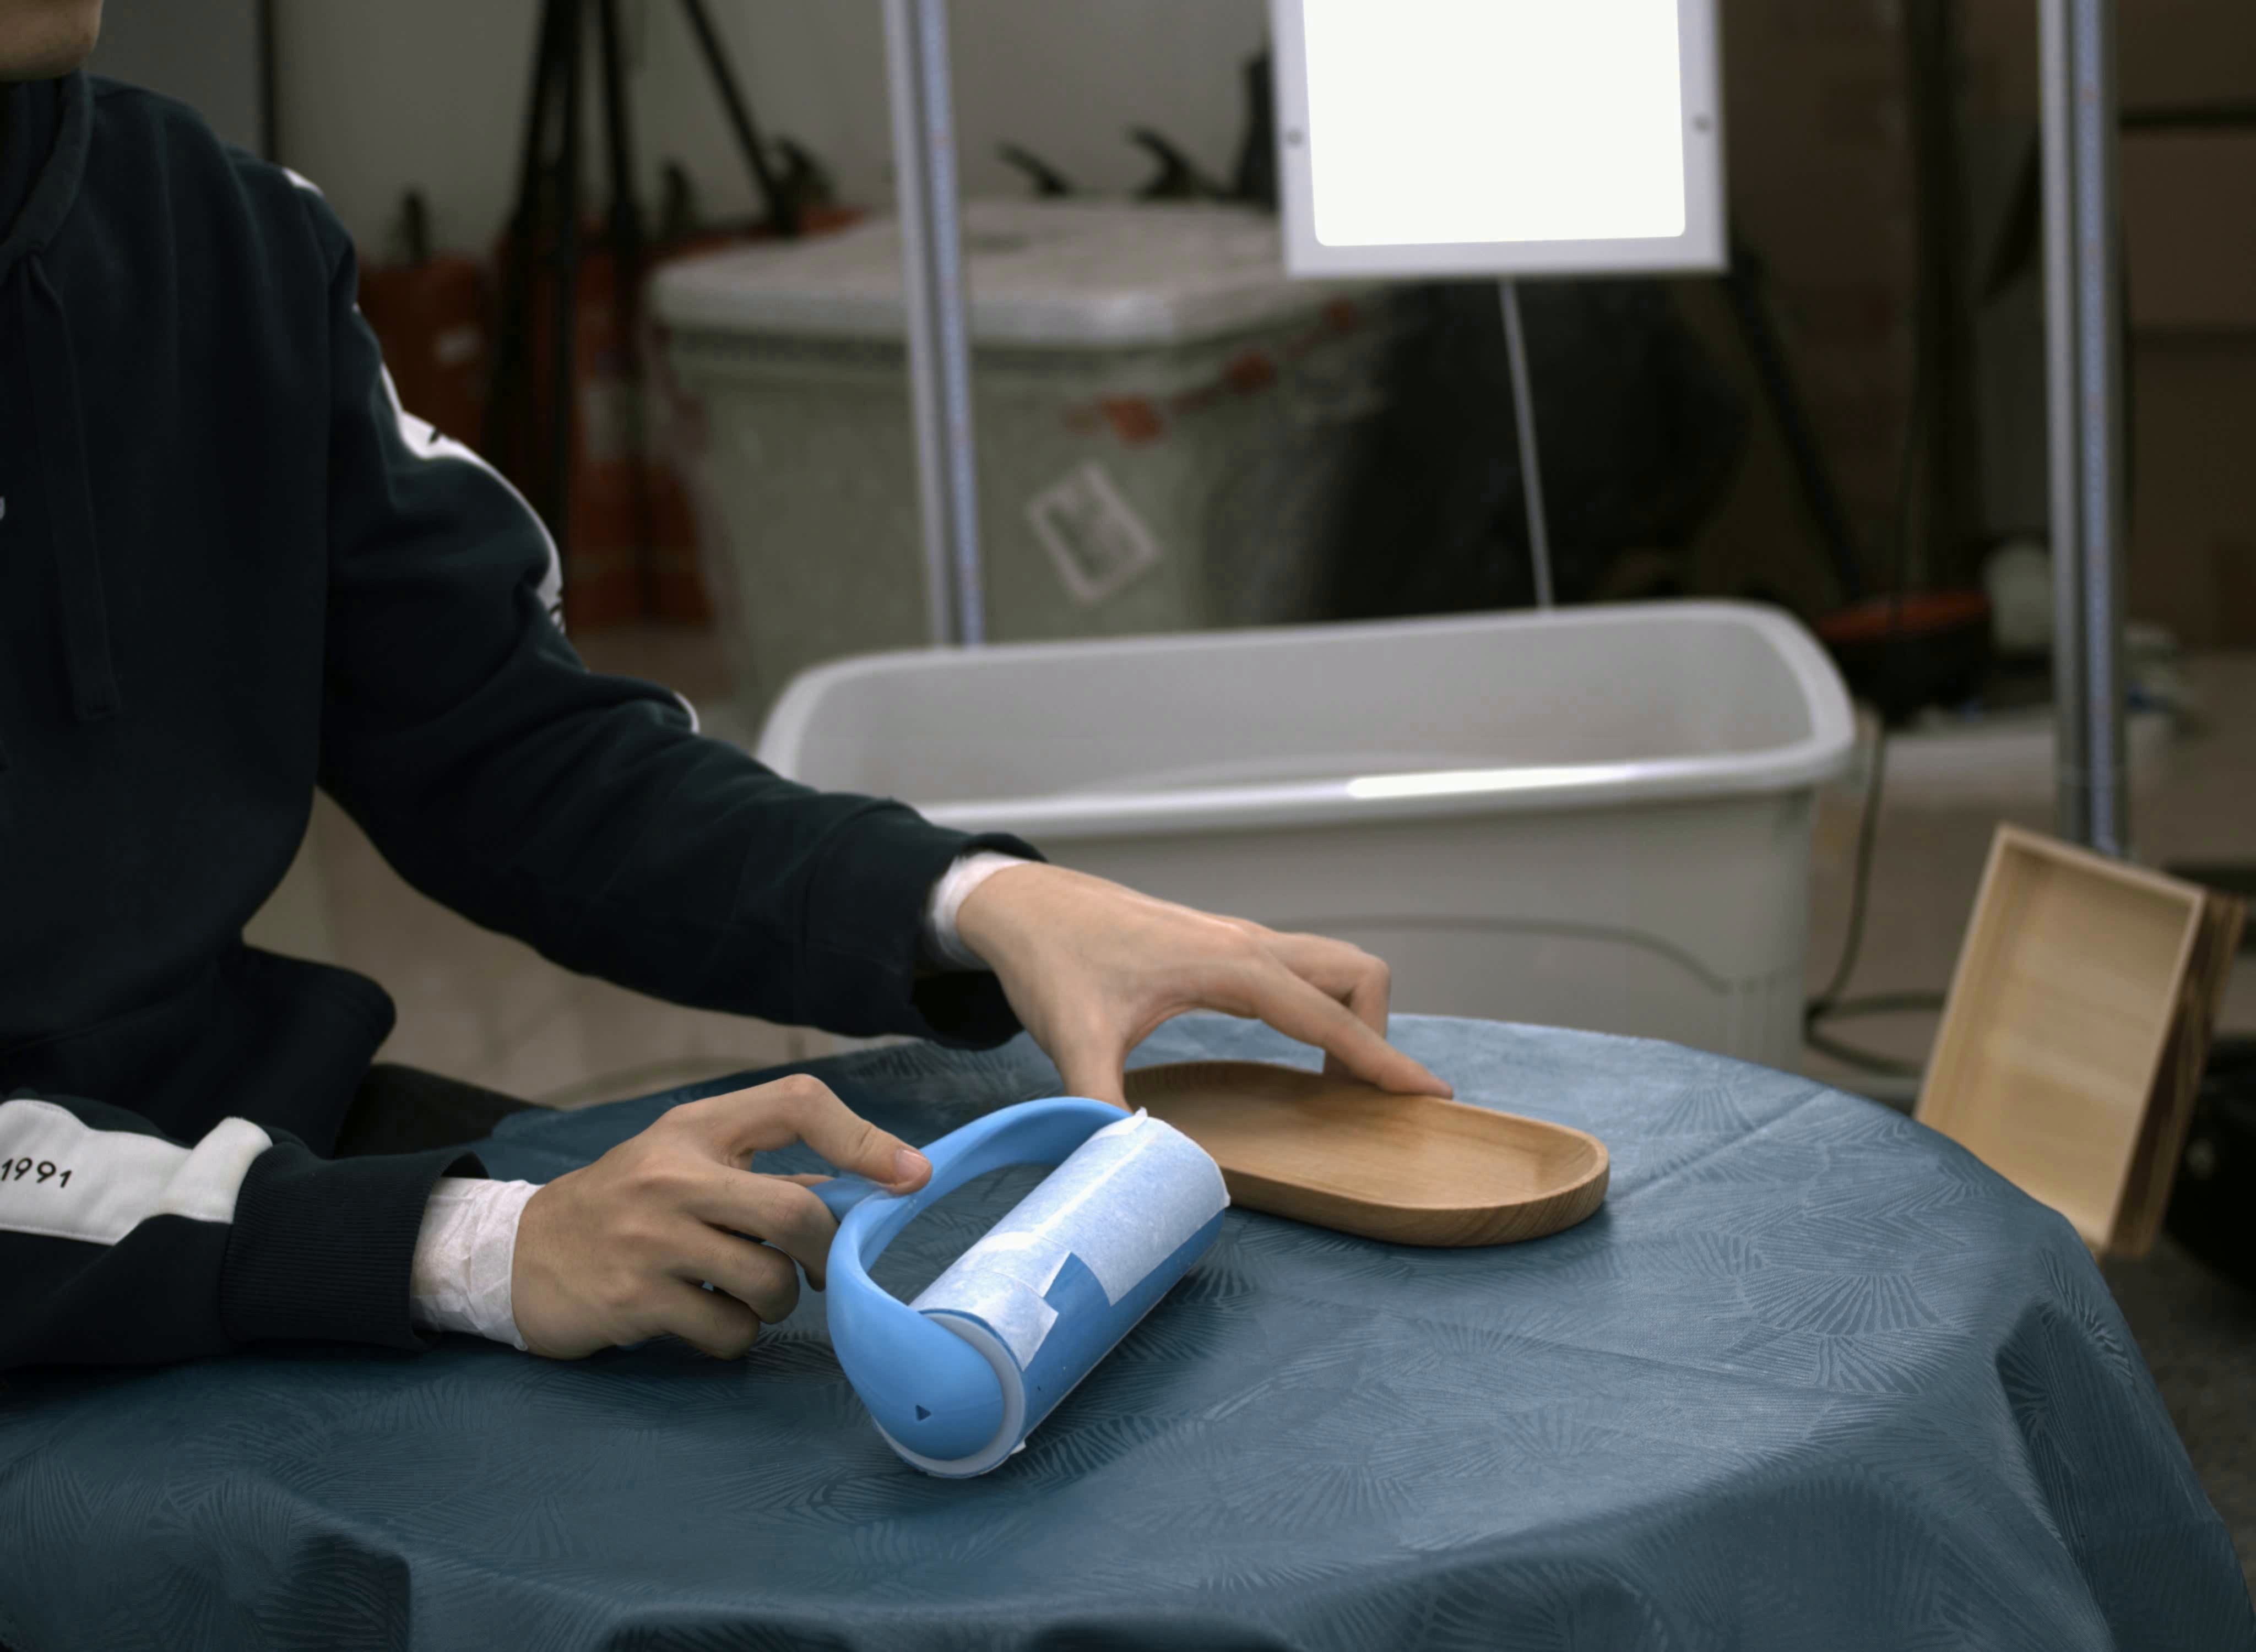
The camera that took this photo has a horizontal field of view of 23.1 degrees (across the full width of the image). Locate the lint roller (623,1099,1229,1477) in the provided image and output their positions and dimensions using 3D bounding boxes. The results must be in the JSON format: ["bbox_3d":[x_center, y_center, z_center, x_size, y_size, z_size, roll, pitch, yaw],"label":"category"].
[{"bbox_3d":[-0.079,0.143,1.738,0.182,0.068,0.225,0,16,18],"label":"lint roller"}]

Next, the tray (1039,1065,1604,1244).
[{"bbox_3d":[0.065,0.112,1.896,0.099,0.020,0.236,-16,15,-41],"label":"tray"}]
